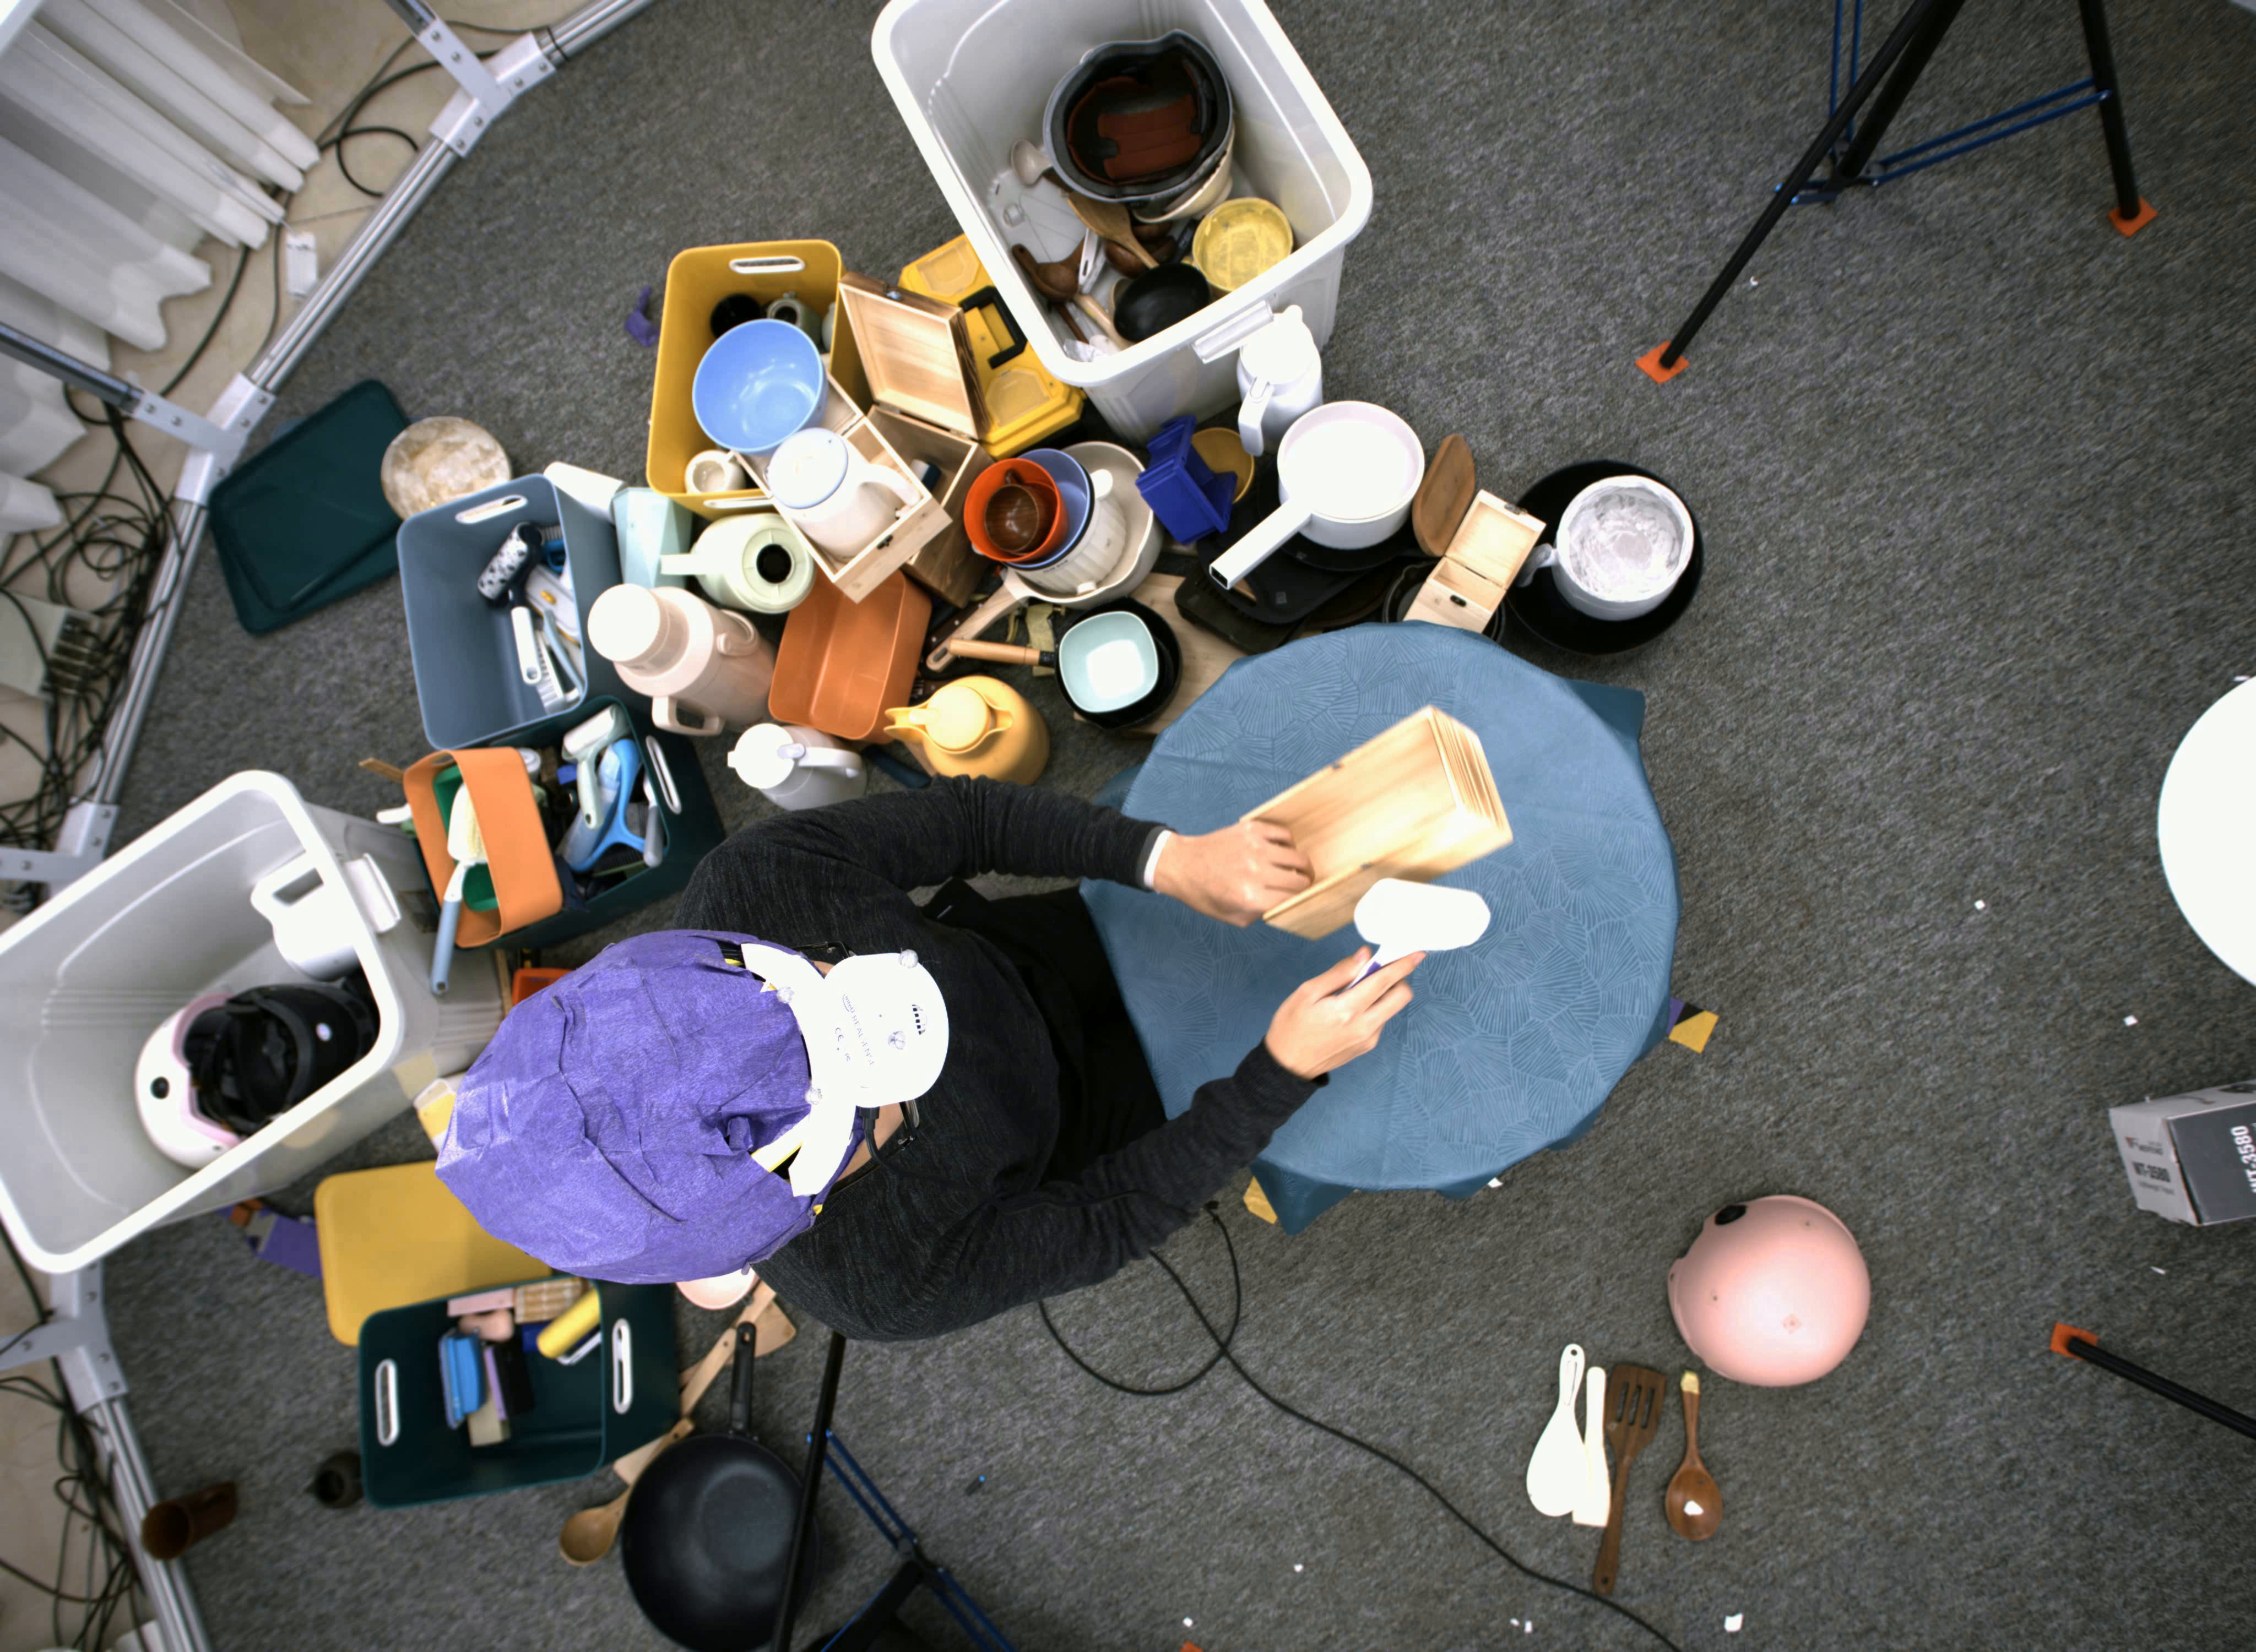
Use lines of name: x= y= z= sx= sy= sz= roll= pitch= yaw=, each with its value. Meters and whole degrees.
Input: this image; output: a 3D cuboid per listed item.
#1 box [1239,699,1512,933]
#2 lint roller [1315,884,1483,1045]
box: x=0.211 y=-0.005 z=1.198 sx=0.215 sy=0.080 sz=0.105 roll=-34 pitch=55 yaw=34
lint roller: x=0.215 y=0.128 z=1.177 sx=0.049 sy=0.132 sz=0.184 roll=53 pitch=124 yaw=43
